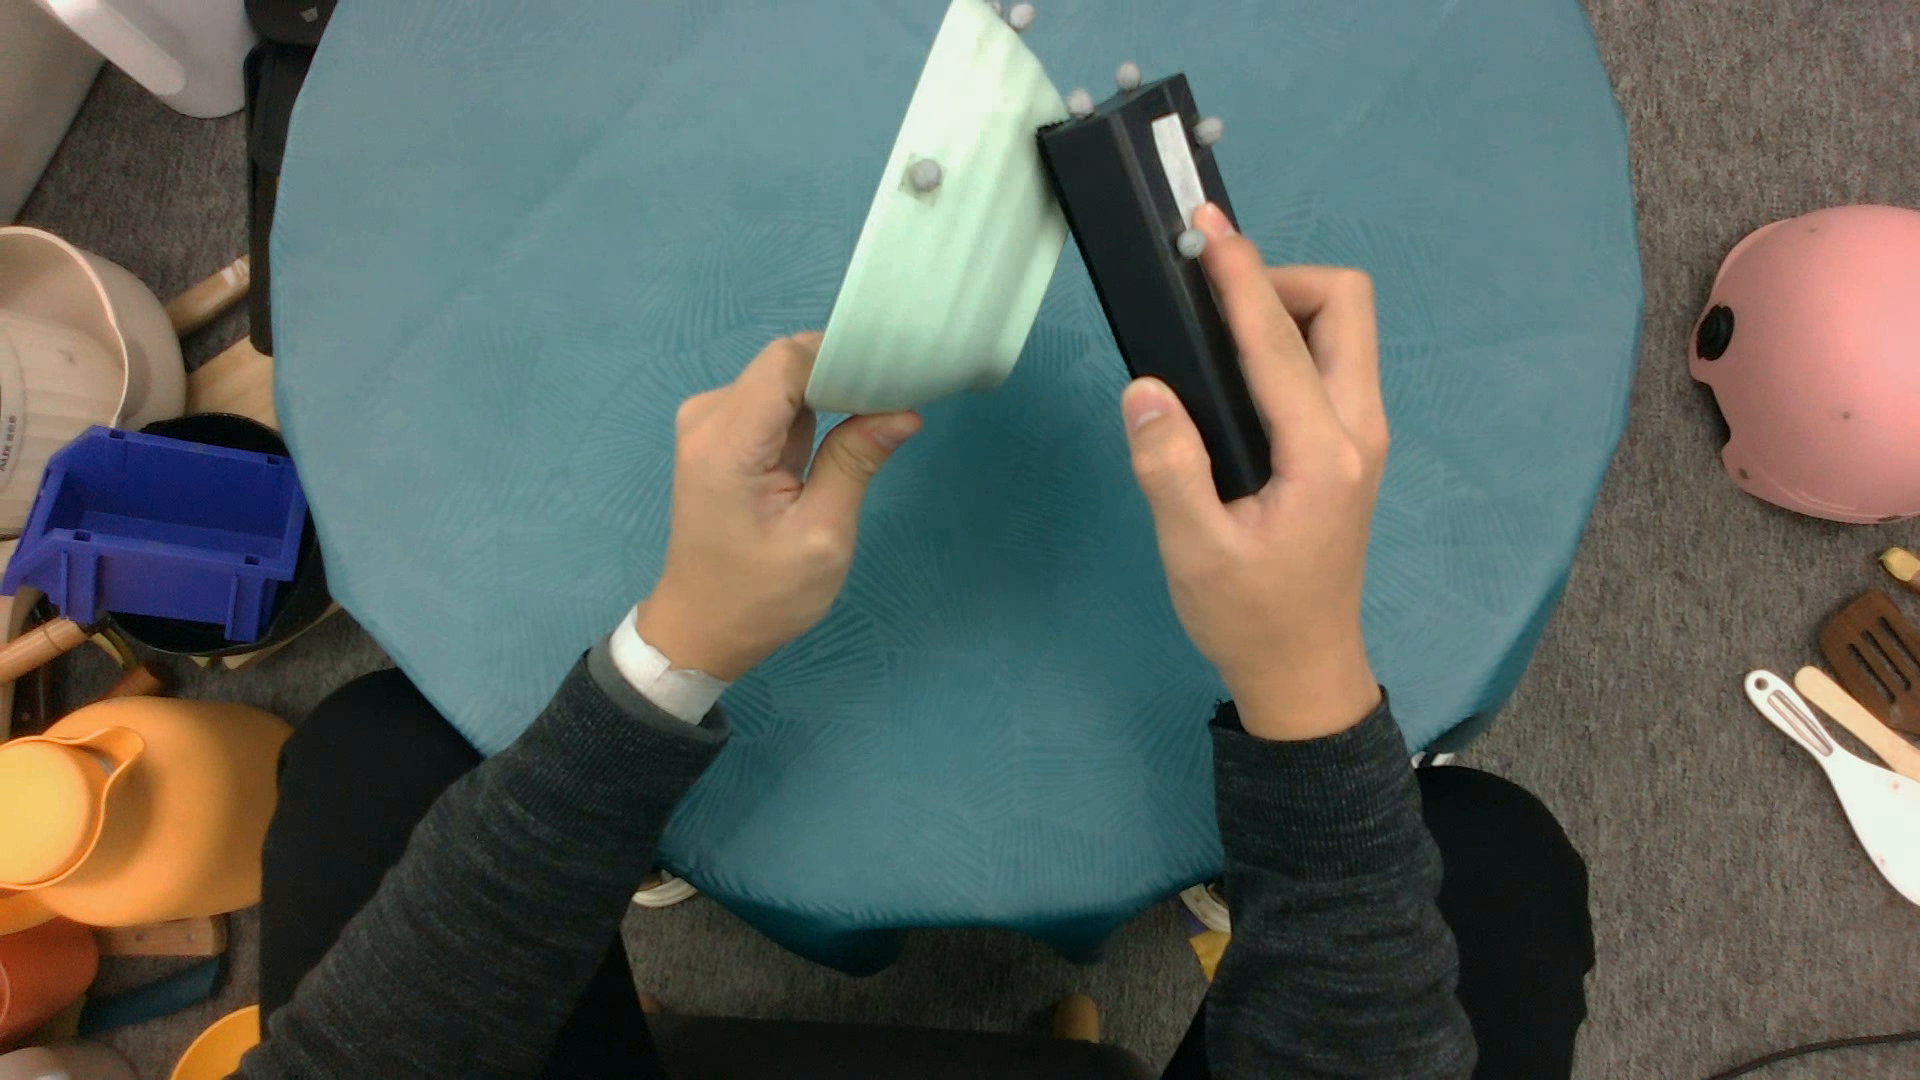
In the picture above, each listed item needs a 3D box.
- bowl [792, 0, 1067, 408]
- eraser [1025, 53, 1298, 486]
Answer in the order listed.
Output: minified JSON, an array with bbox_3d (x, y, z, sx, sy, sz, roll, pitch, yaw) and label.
[{"bbox_3d":[-0.003,-0.100,0.459,0.058,0.151,0.151,23,81,-7],"label":"bowl"},{"bbox_3d":[0.065,-0.082,0.429,0.054,0.030,0.125,-42,115,-42],"label":"eraser"}]
